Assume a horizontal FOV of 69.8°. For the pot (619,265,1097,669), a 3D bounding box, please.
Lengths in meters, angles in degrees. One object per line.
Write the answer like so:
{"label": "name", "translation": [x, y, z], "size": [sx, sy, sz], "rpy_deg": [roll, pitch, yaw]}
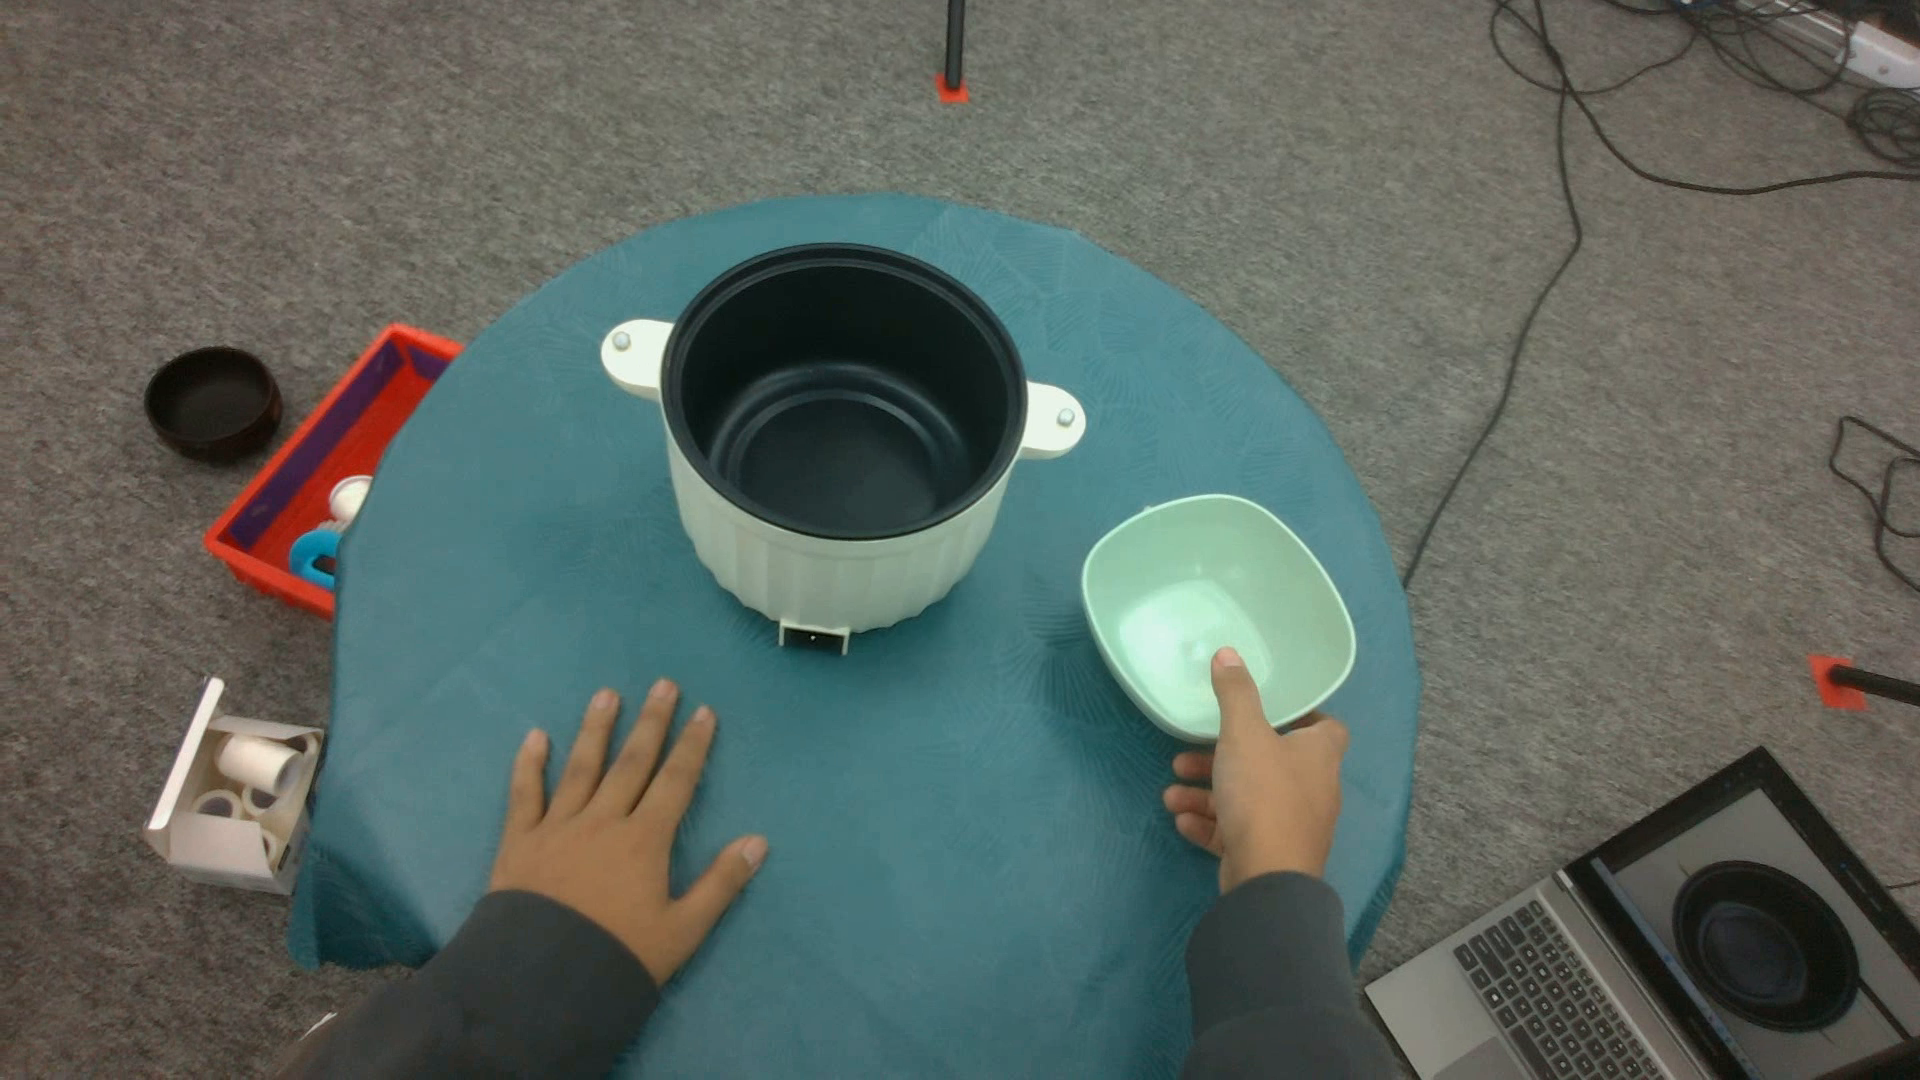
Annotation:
{"label": "pot", "translation": [-0.057, -0.041, 0.748], "size": [0.240, 0.142, 0.191], "rpy_deg": [5, 61, -5]}

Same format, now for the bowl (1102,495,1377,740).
{"label": "bowl", "translation": [0.148, 0.051, 0.764], "size": [0.151, 0.058, 0.152], "rpy_deg": [3, 57, -4]}
